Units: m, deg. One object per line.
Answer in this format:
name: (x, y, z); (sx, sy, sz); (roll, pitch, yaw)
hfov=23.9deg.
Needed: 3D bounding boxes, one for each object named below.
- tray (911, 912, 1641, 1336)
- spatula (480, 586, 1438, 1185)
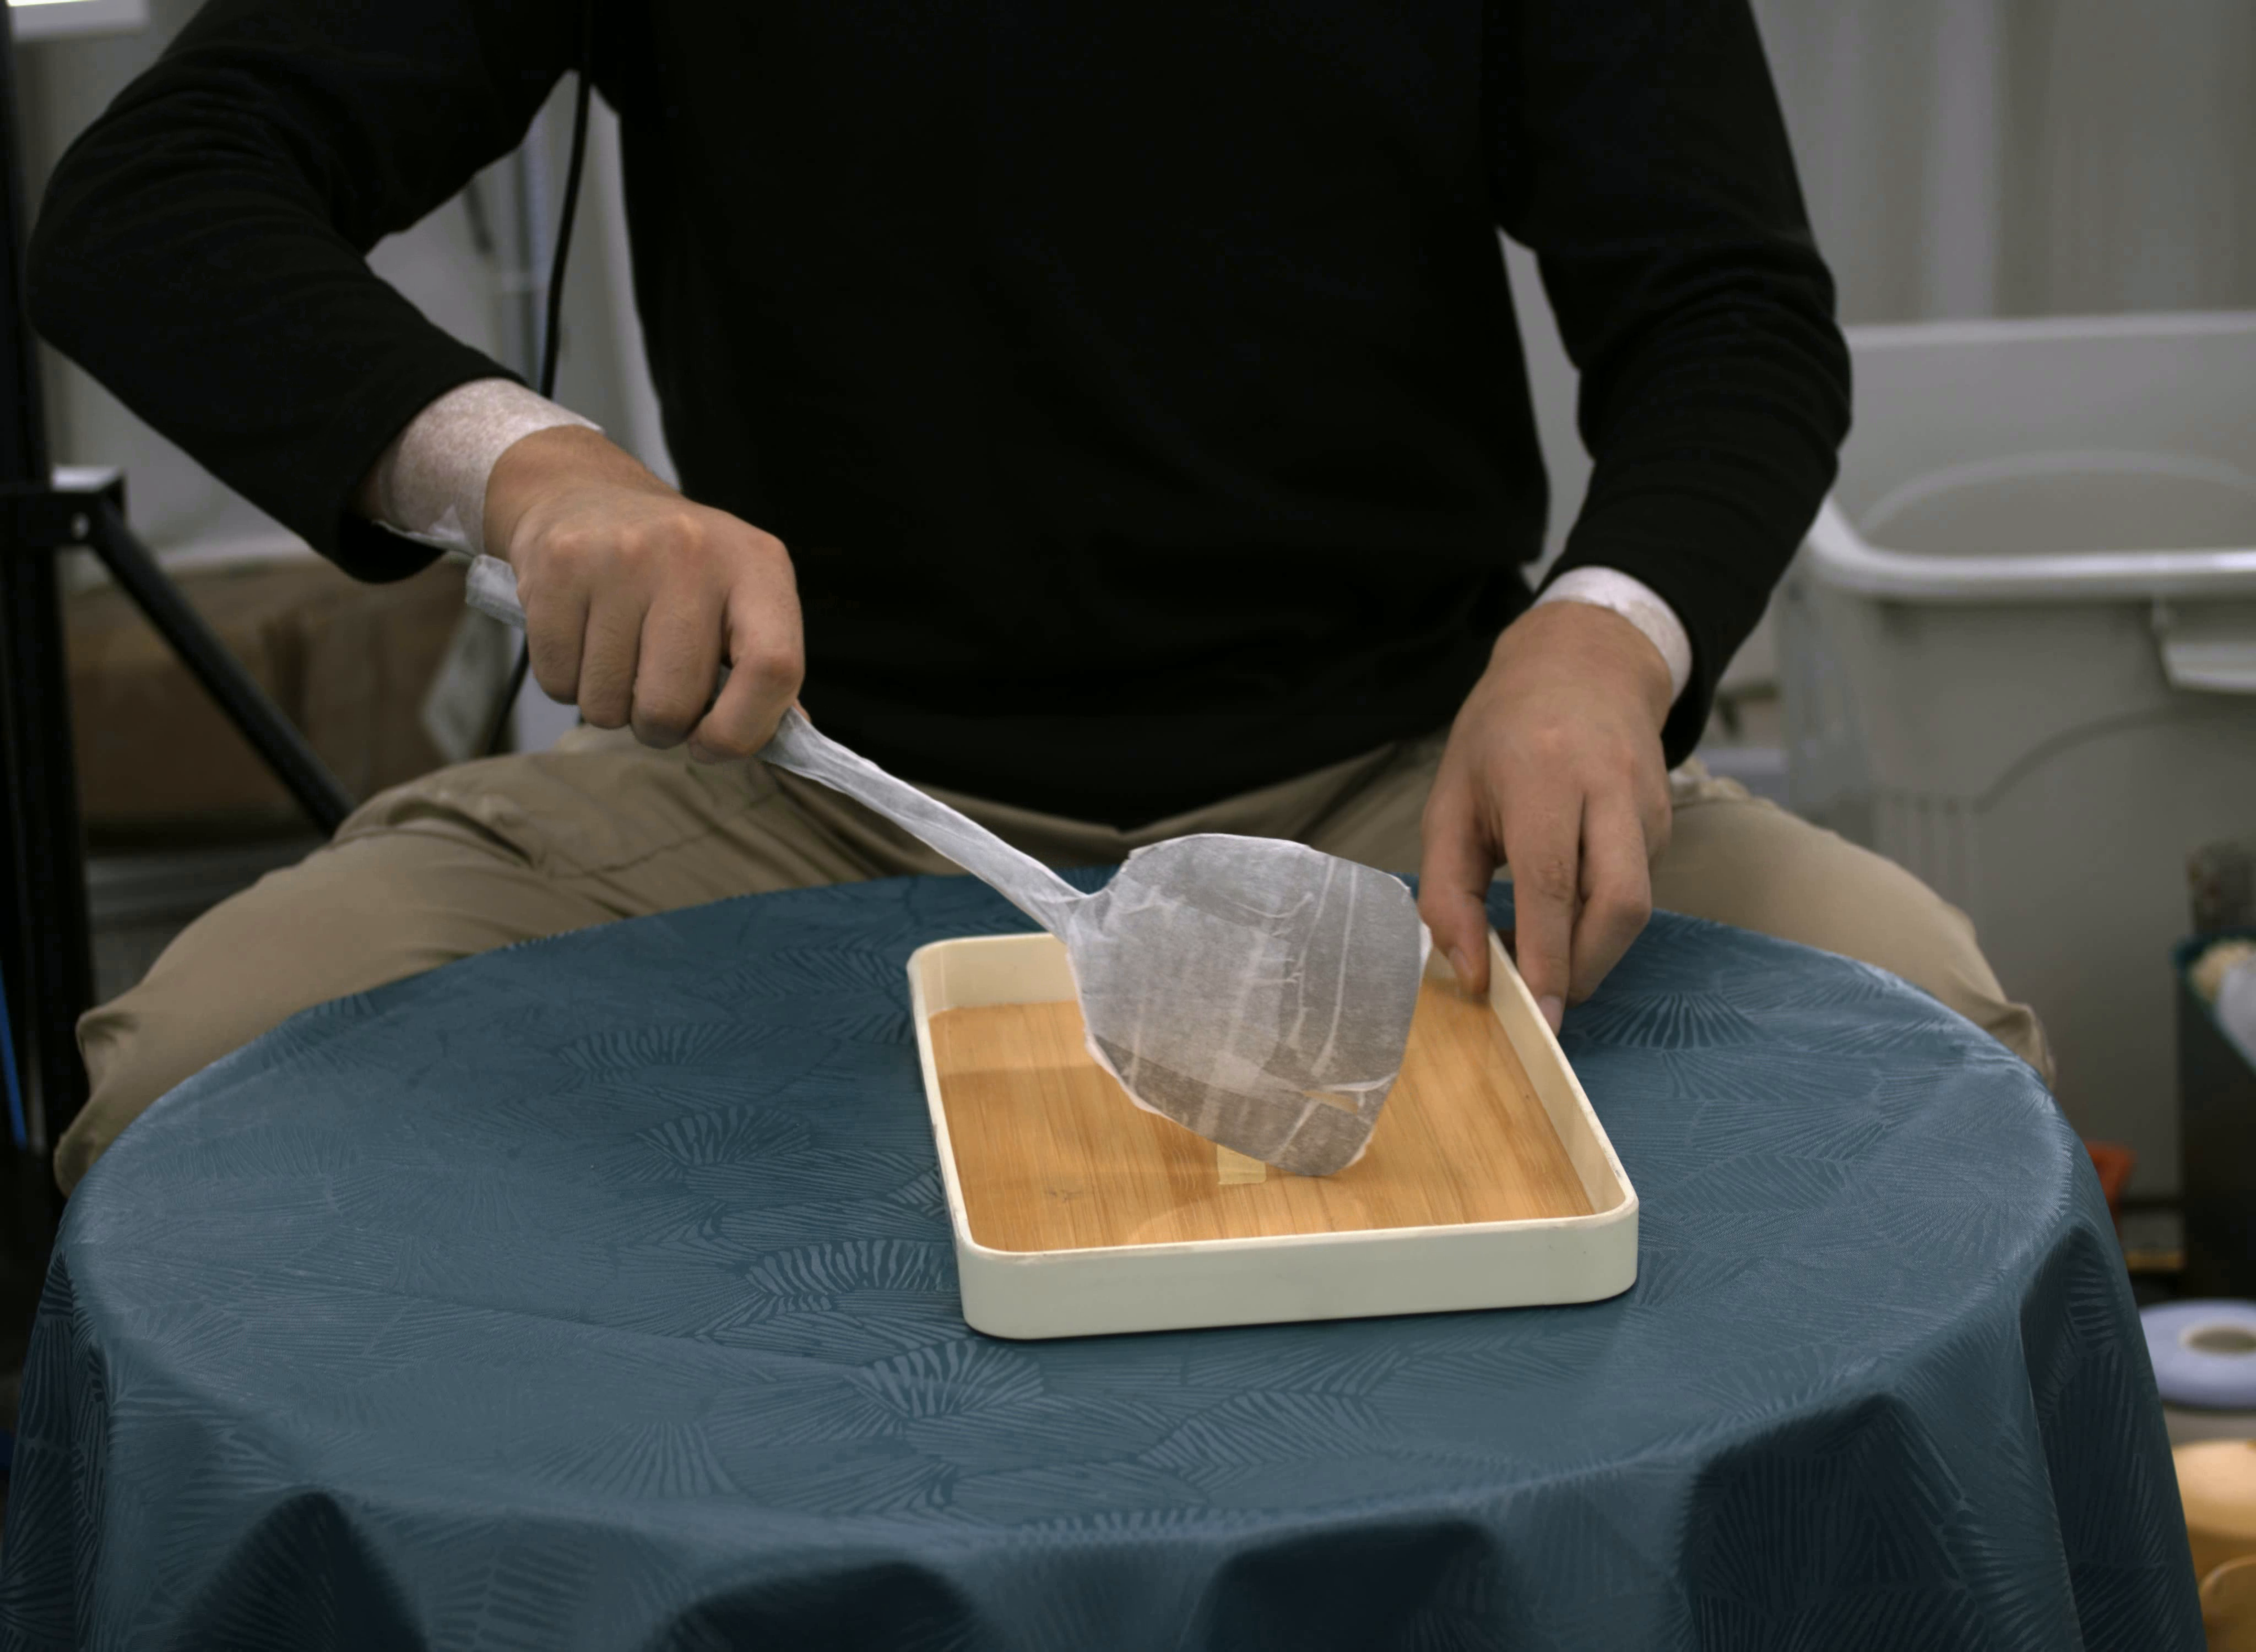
tray: (0.036, 0.084, 1.585); (0.190, 0.027, 0.302); (-4, 16, -3)
spatula: (-0.060, -0.003, 1.615); (0.373, 0.099, 0.043); (30, 23, 36)
